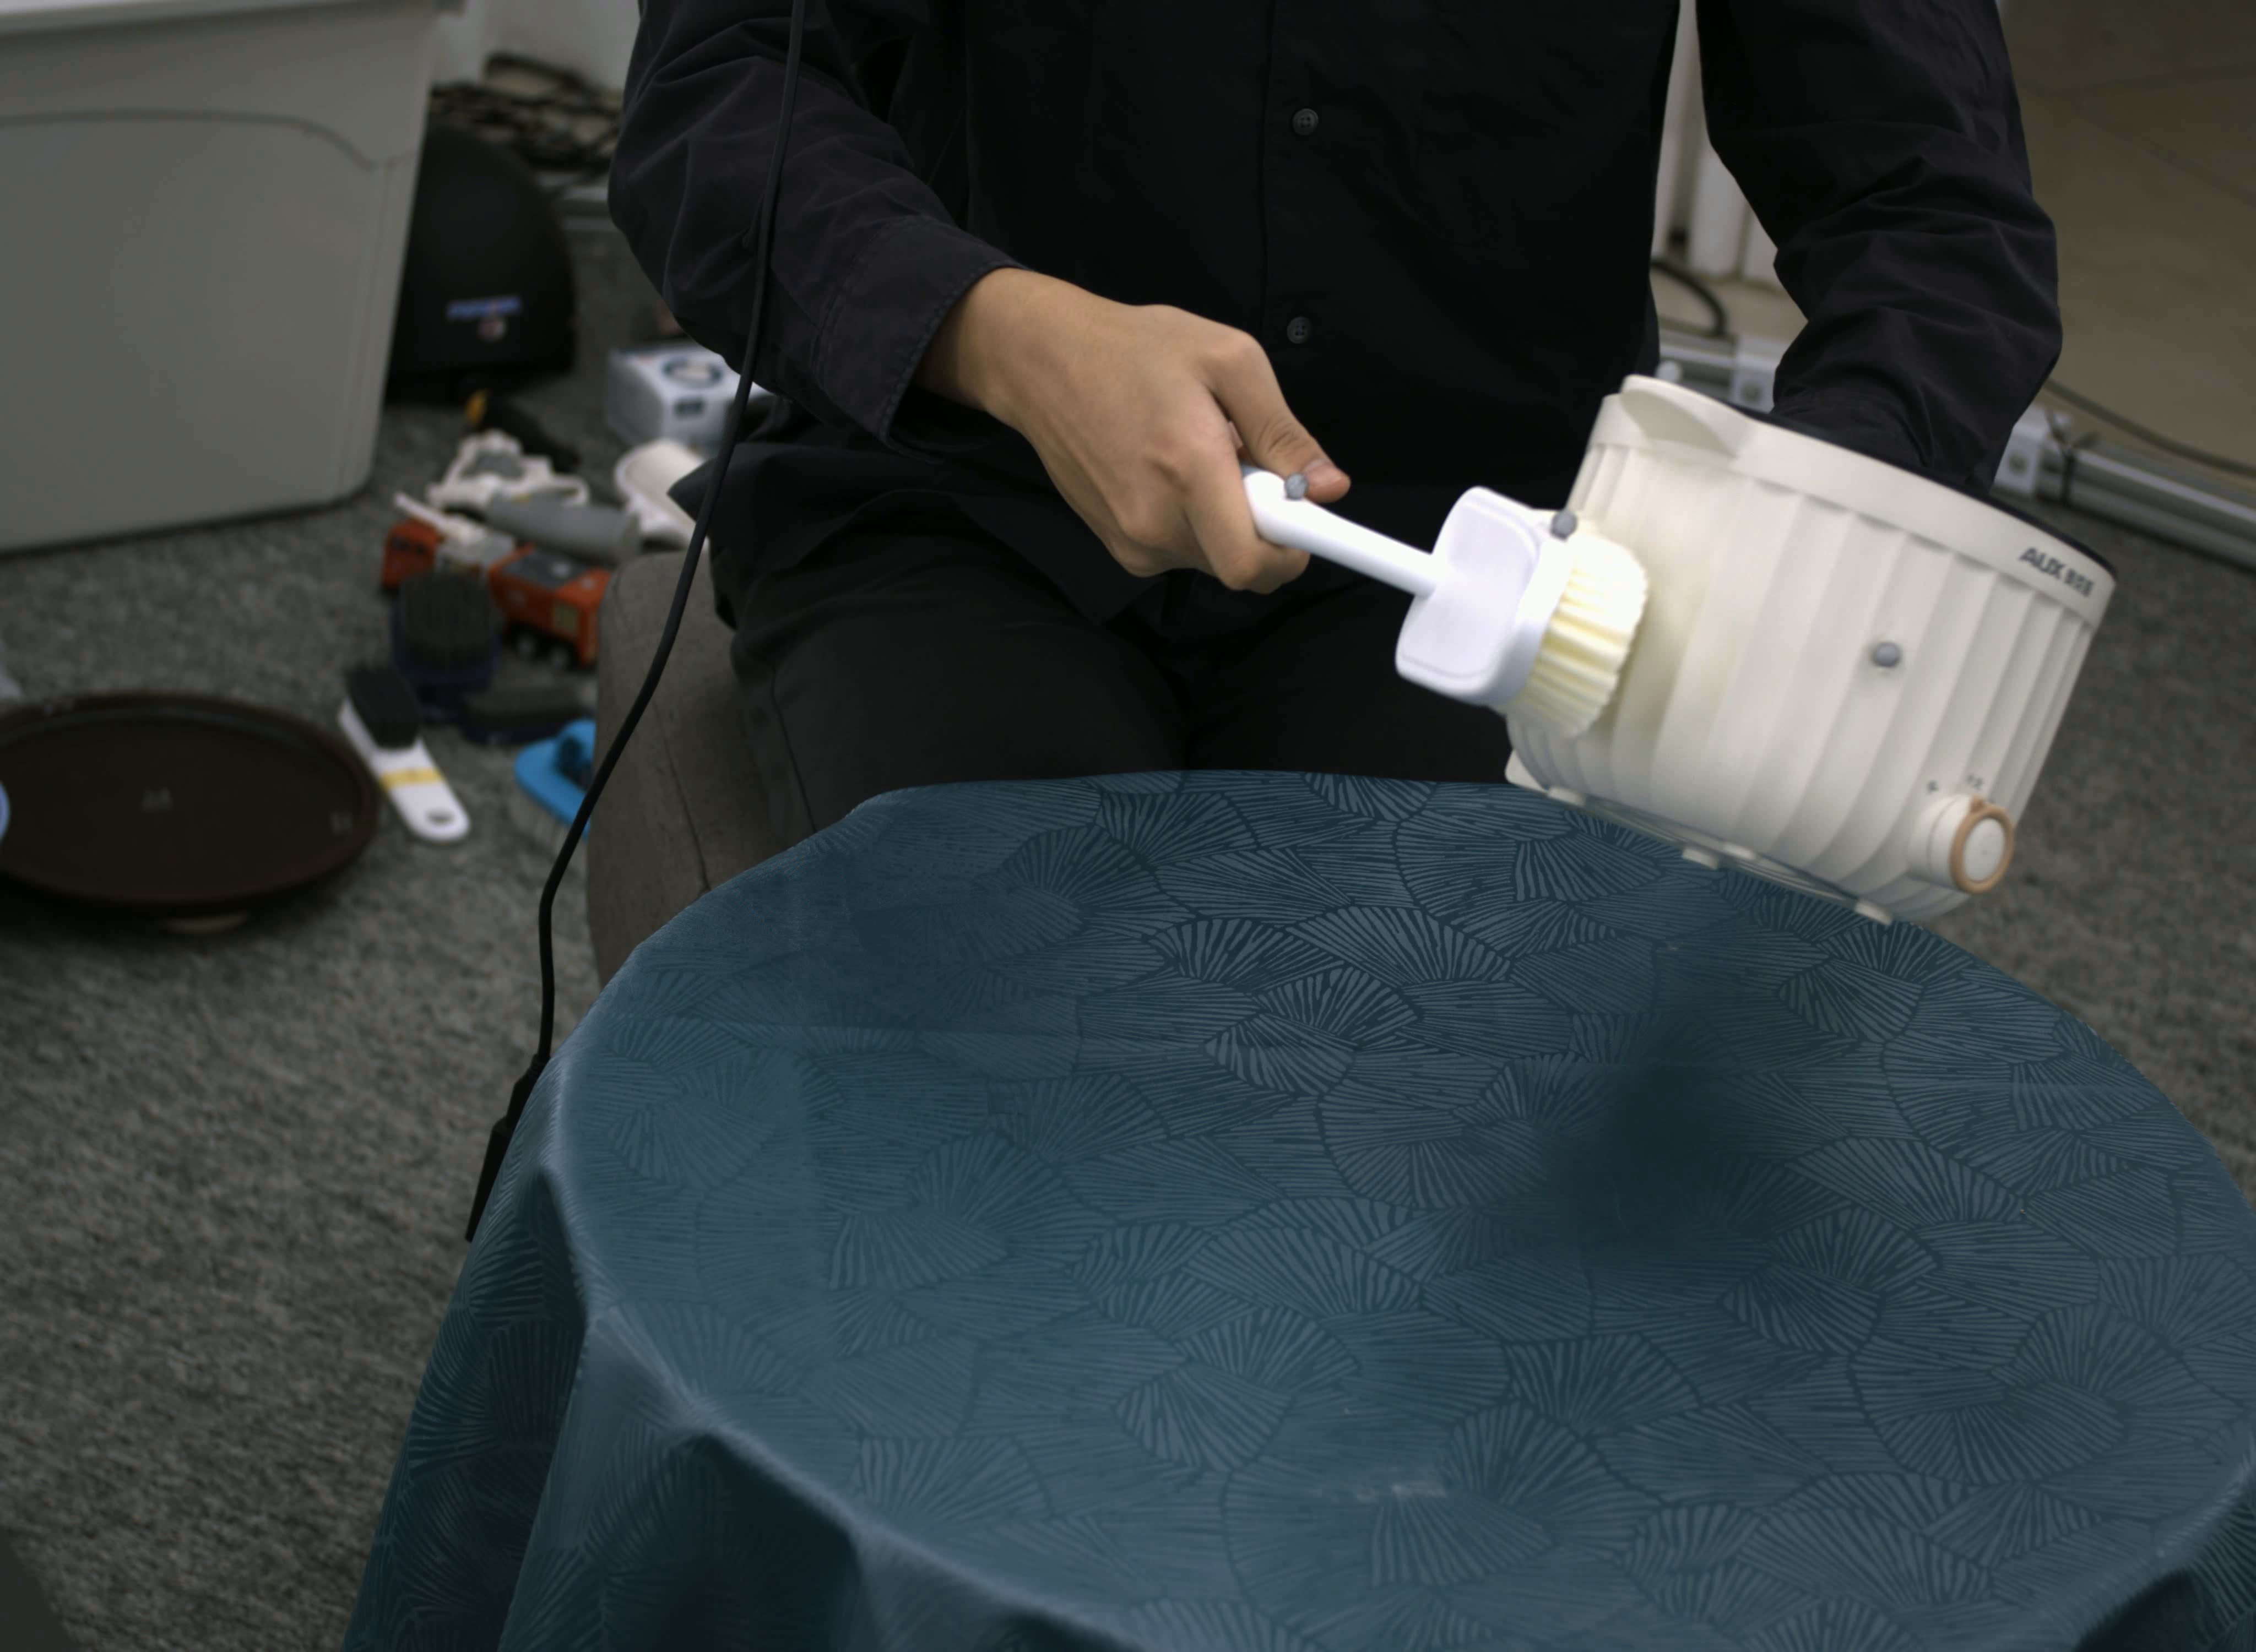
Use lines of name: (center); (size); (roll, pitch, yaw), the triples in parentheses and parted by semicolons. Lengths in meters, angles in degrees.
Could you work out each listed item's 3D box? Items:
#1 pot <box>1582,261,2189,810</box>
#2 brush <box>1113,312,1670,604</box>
pot: (0.256, -0.089, 1.805); (0.192, 0.143, 0.238); (15, -5, 44)
brush: (0.101, -0.136, 1.828); (0.083, 0.084, 0.328); (-38, 26, -12)
